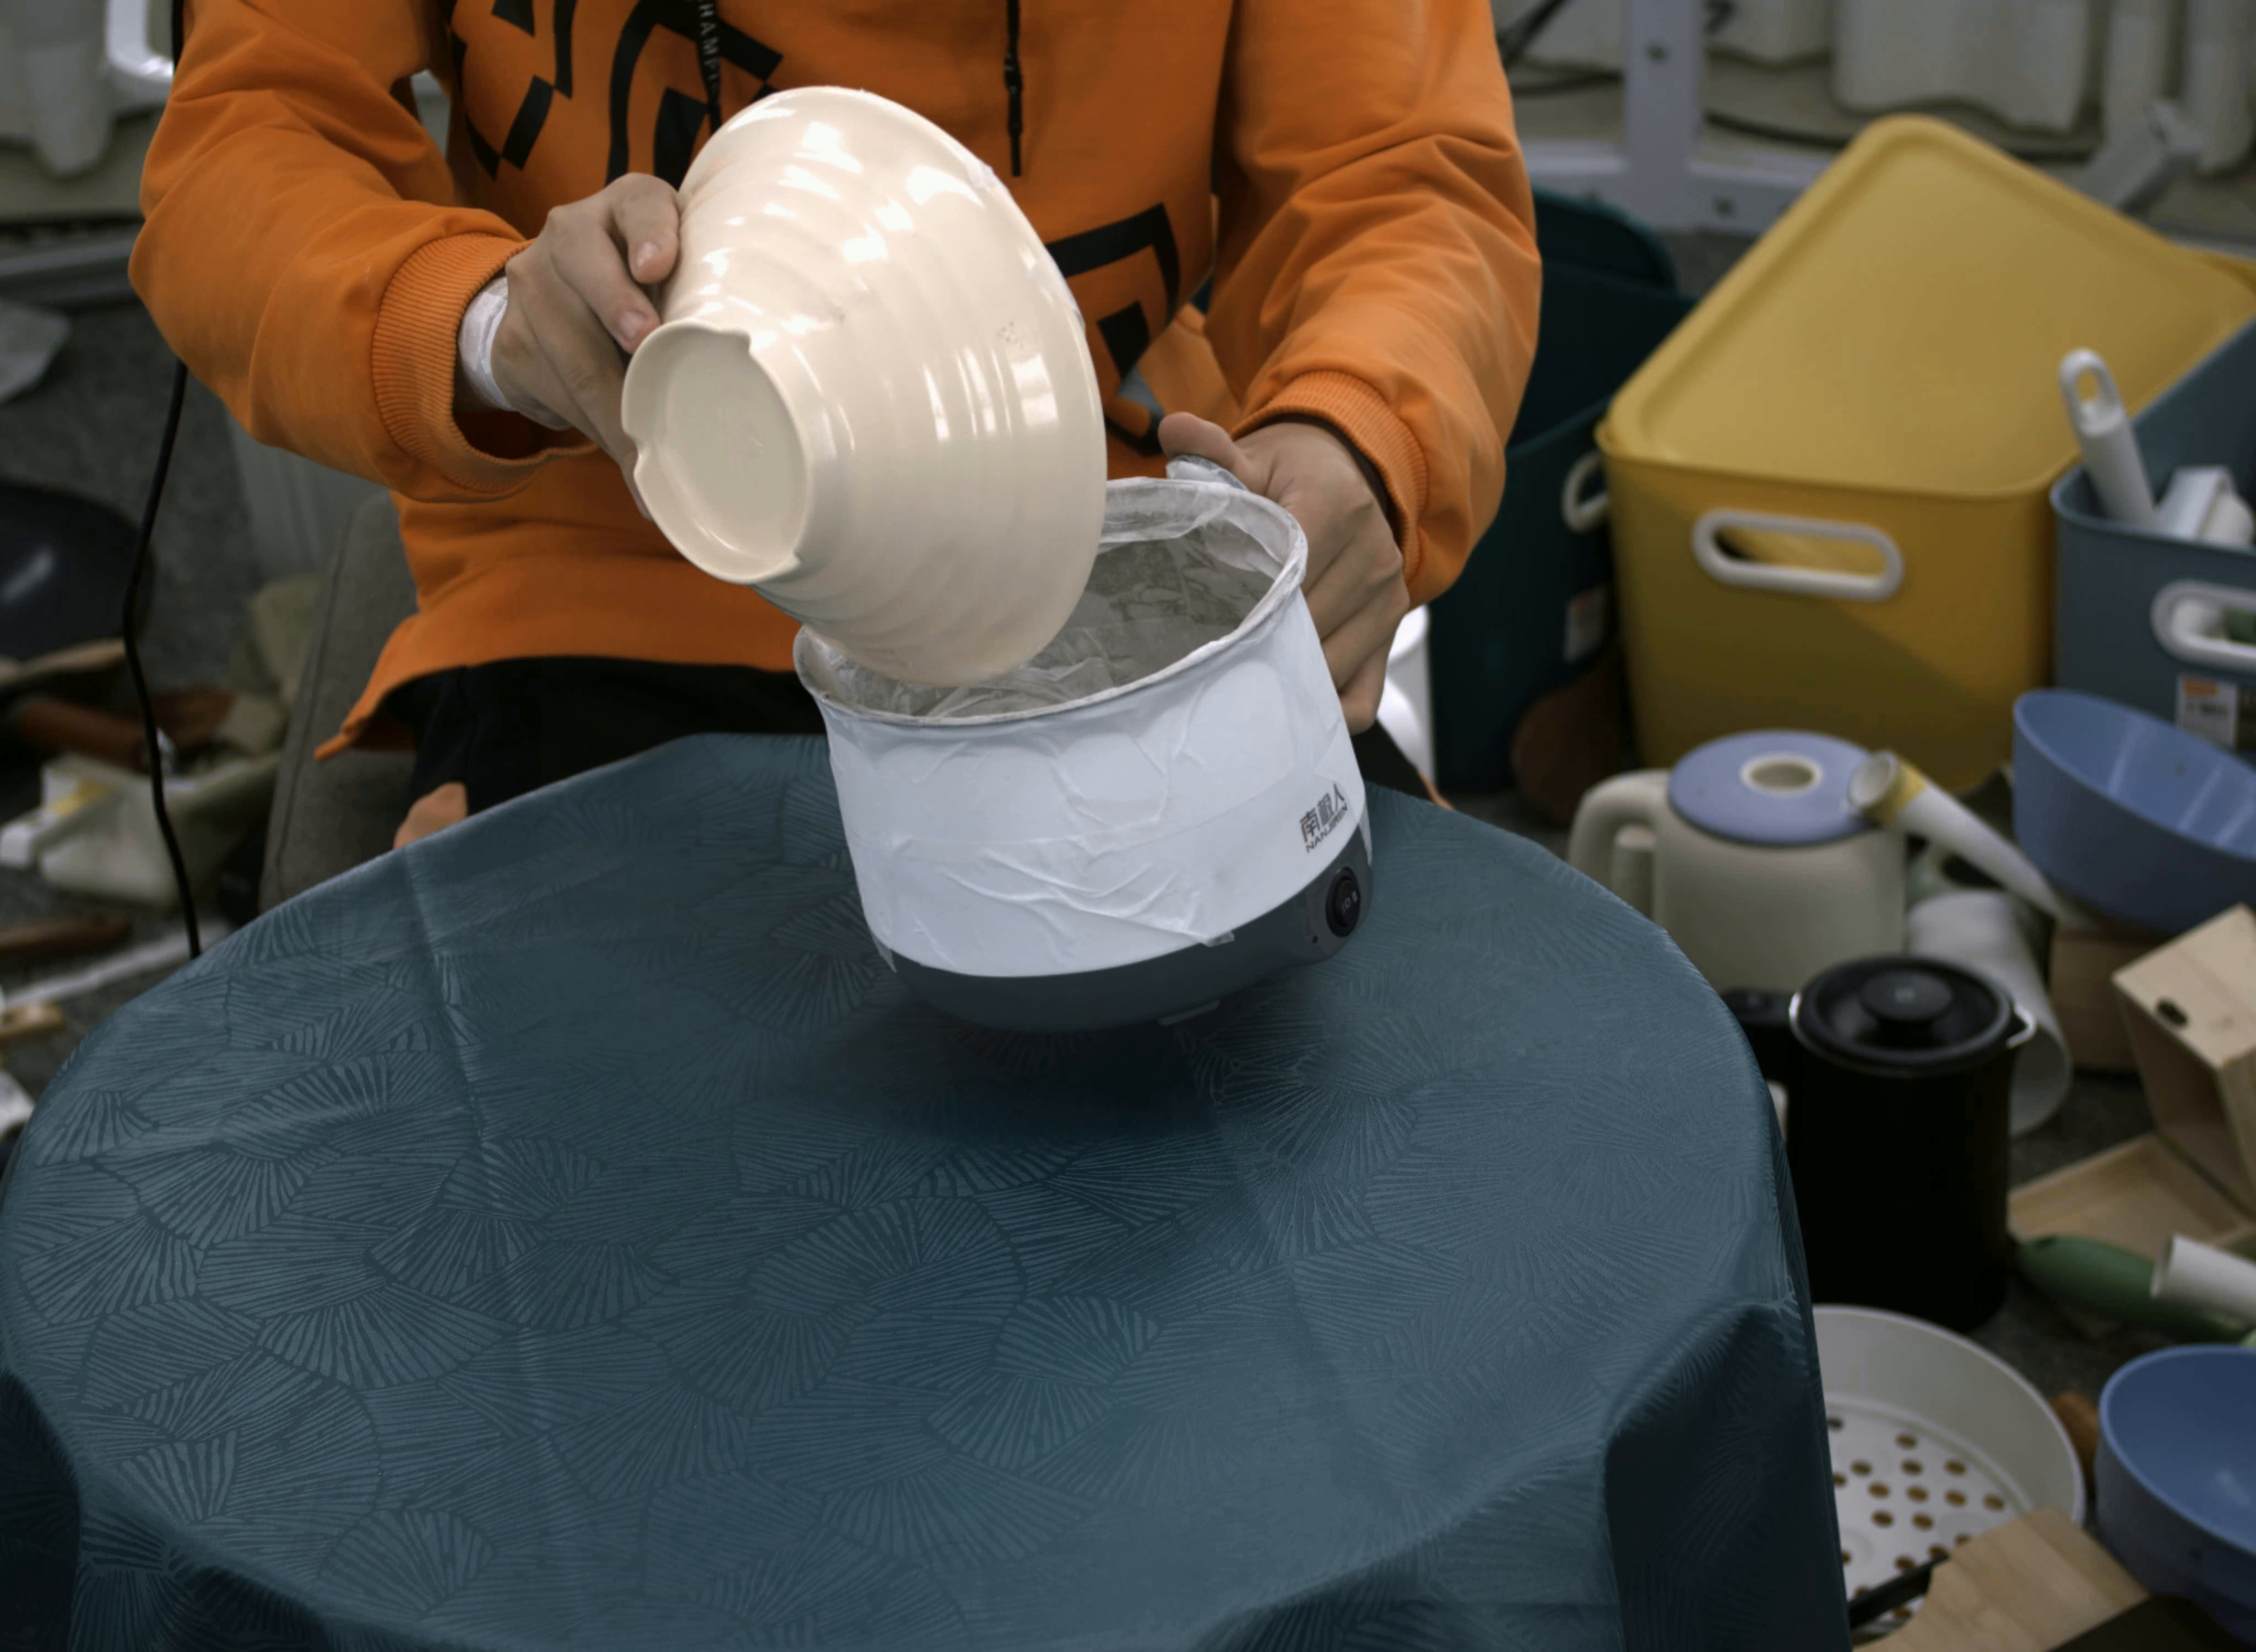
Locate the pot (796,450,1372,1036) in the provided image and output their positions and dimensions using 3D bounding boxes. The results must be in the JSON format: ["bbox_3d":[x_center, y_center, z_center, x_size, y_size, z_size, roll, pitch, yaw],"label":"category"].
[{"bbox_3d":[0.000,-0.035,1.930,0.177,0.135,0.238,2,30,29],"label":"pot"}]

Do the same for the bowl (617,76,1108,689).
[{"bbox_3d":[-0.106,-0.133,1.811,0.203,0.202,0.079,19,28,36],"label":"bowl"}]
